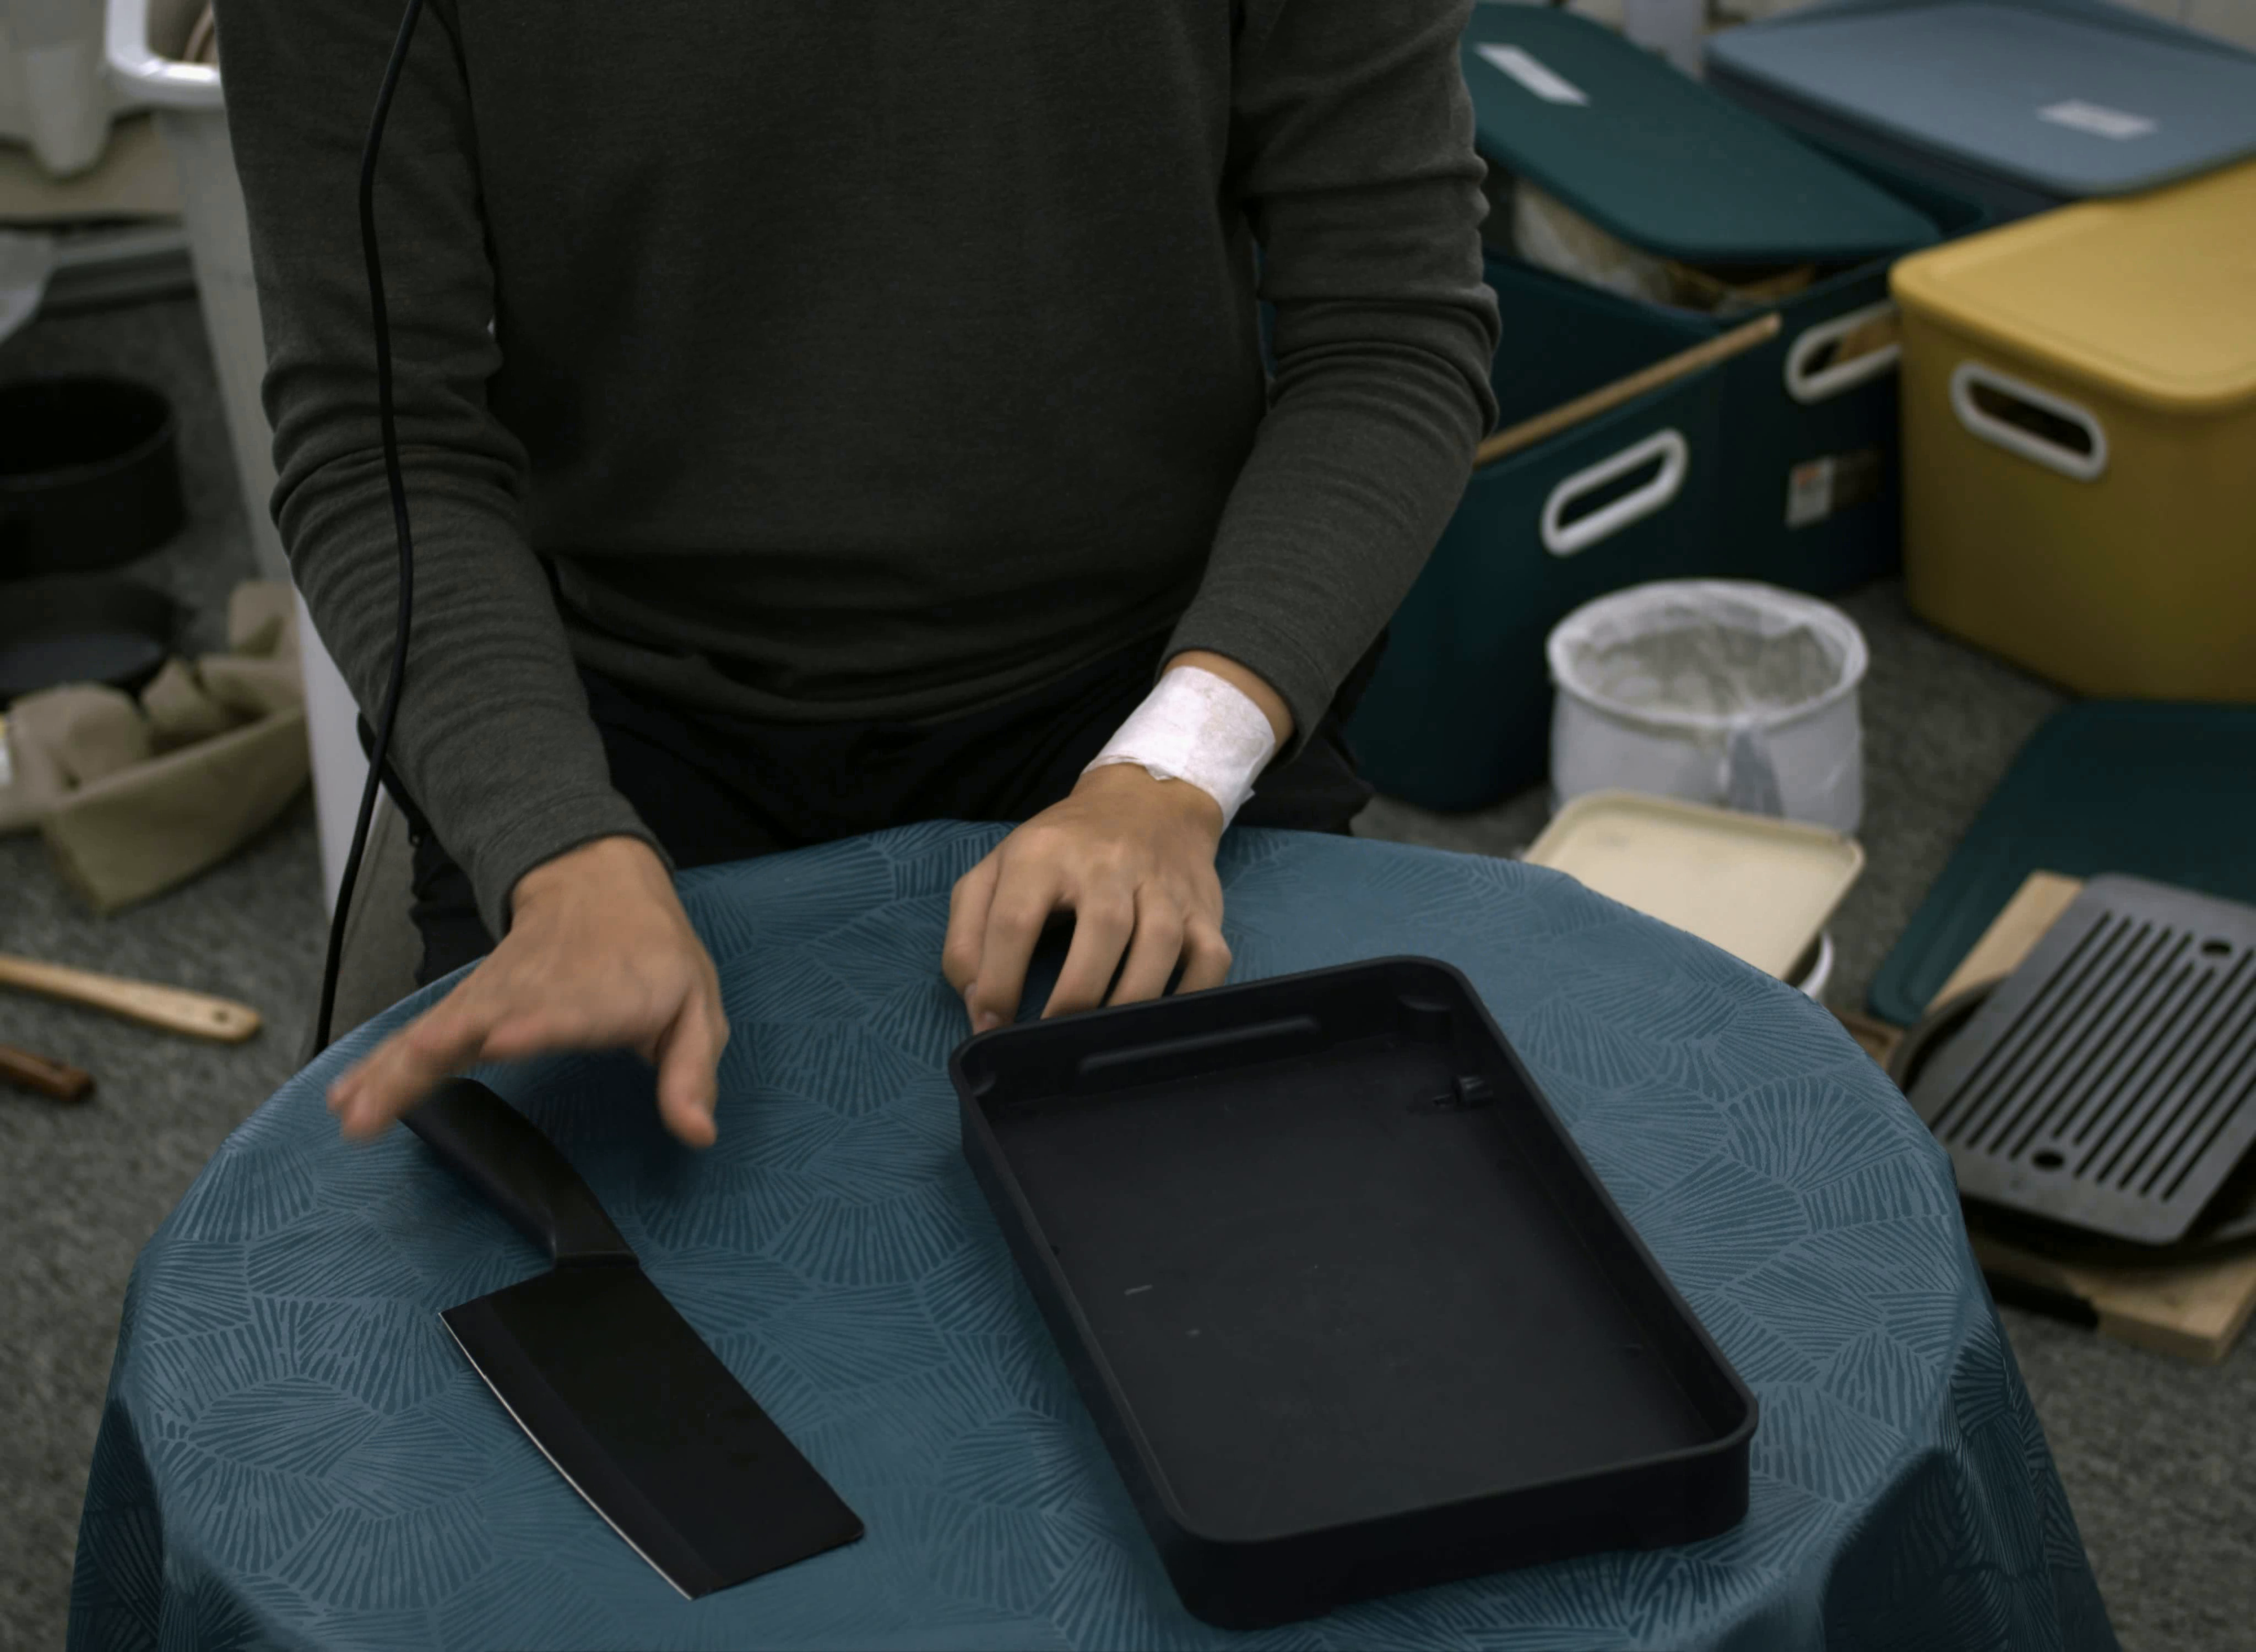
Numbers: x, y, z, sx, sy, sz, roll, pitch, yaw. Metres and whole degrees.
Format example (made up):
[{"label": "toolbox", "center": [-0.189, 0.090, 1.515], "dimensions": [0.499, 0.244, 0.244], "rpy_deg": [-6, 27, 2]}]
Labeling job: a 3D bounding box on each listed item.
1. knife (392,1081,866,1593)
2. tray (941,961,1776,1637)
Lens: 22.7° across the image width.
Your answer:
[{"label": "knife", "center": [-0.175, 0.159, 1.791], "dimensions": [0.081, 0.020, 0.304], "rpy_deg": [-15, 31, -20]}, {"label": "tray", "center": [0.065, 0.142, 1.777], "dimensions": [0.184, 0.036, 0.321], "rpy_deg": [-10, 28, -14]}]
